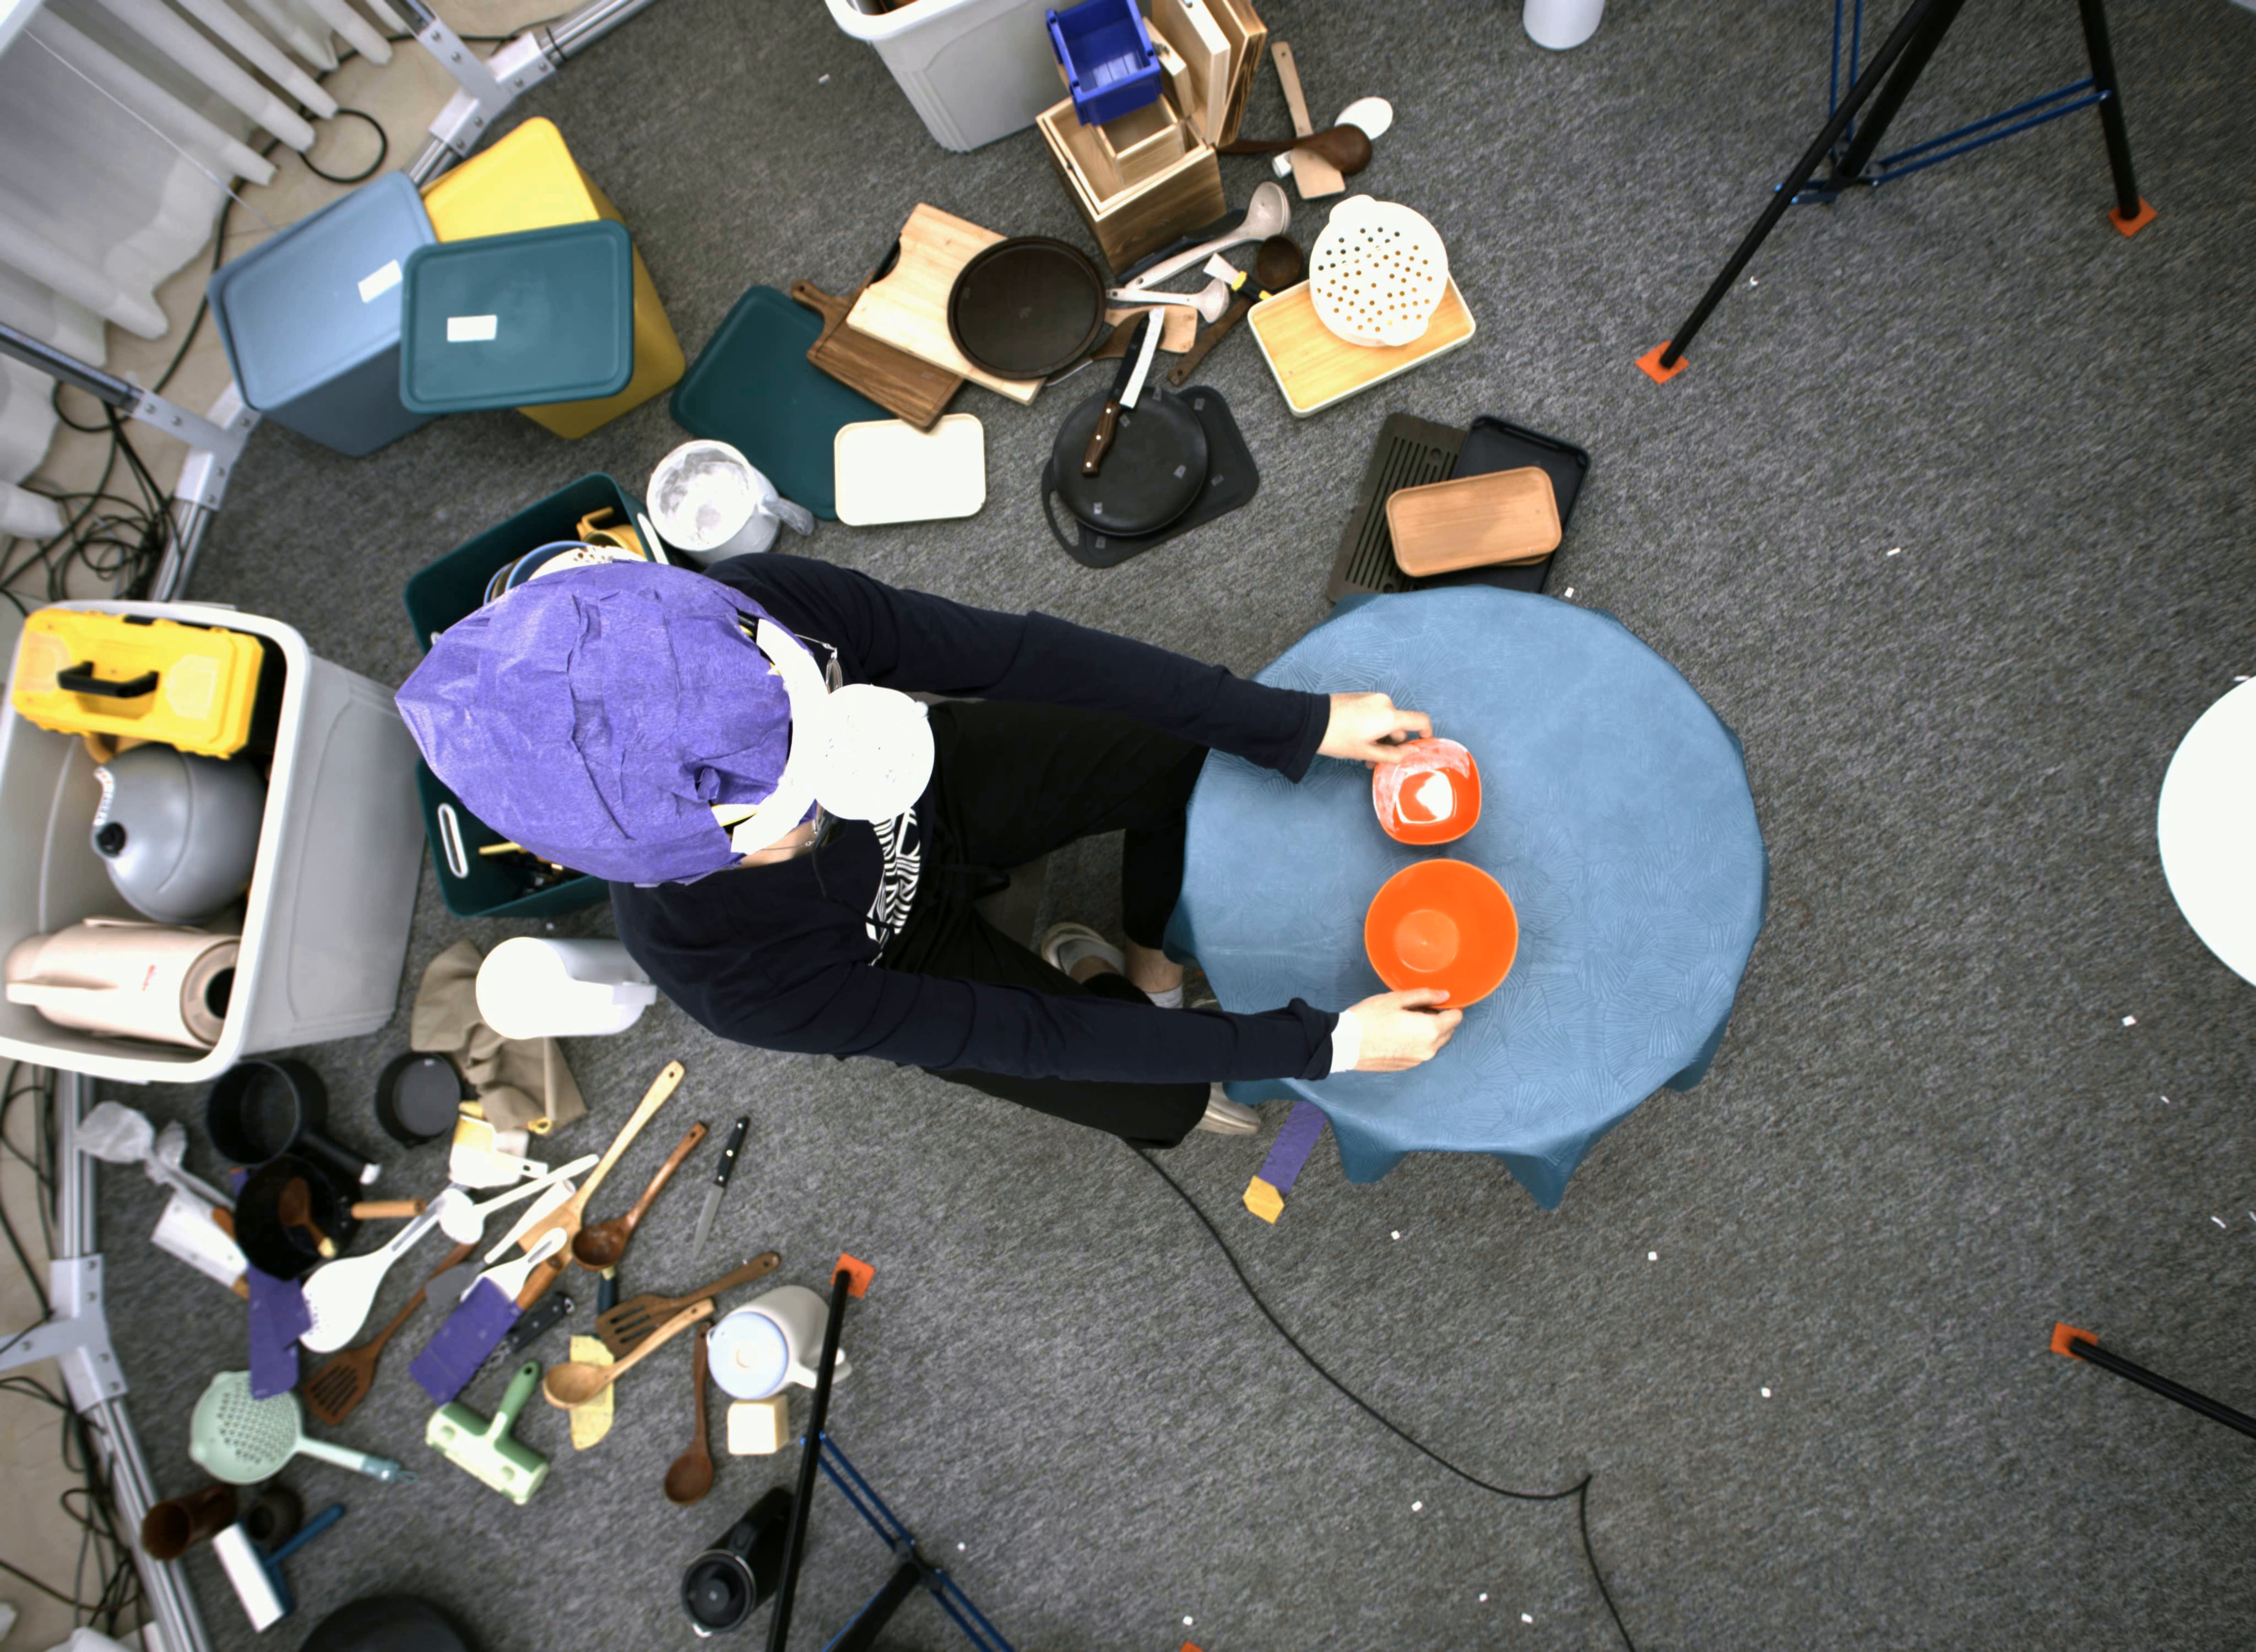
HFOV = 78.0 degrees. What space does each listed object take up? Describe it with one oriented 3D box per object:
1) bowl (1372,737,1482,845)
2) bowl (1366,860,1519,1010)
[{"bbox_3d":[0.309,-0.036,1.432,0.119,0.051,0.118,-1,87,9],"label":"bowl"},{"bbox_3d":[0.316,0.110,1.398,0.148,0.105,0.147,-1,85,11],"label":"bowl"}]
